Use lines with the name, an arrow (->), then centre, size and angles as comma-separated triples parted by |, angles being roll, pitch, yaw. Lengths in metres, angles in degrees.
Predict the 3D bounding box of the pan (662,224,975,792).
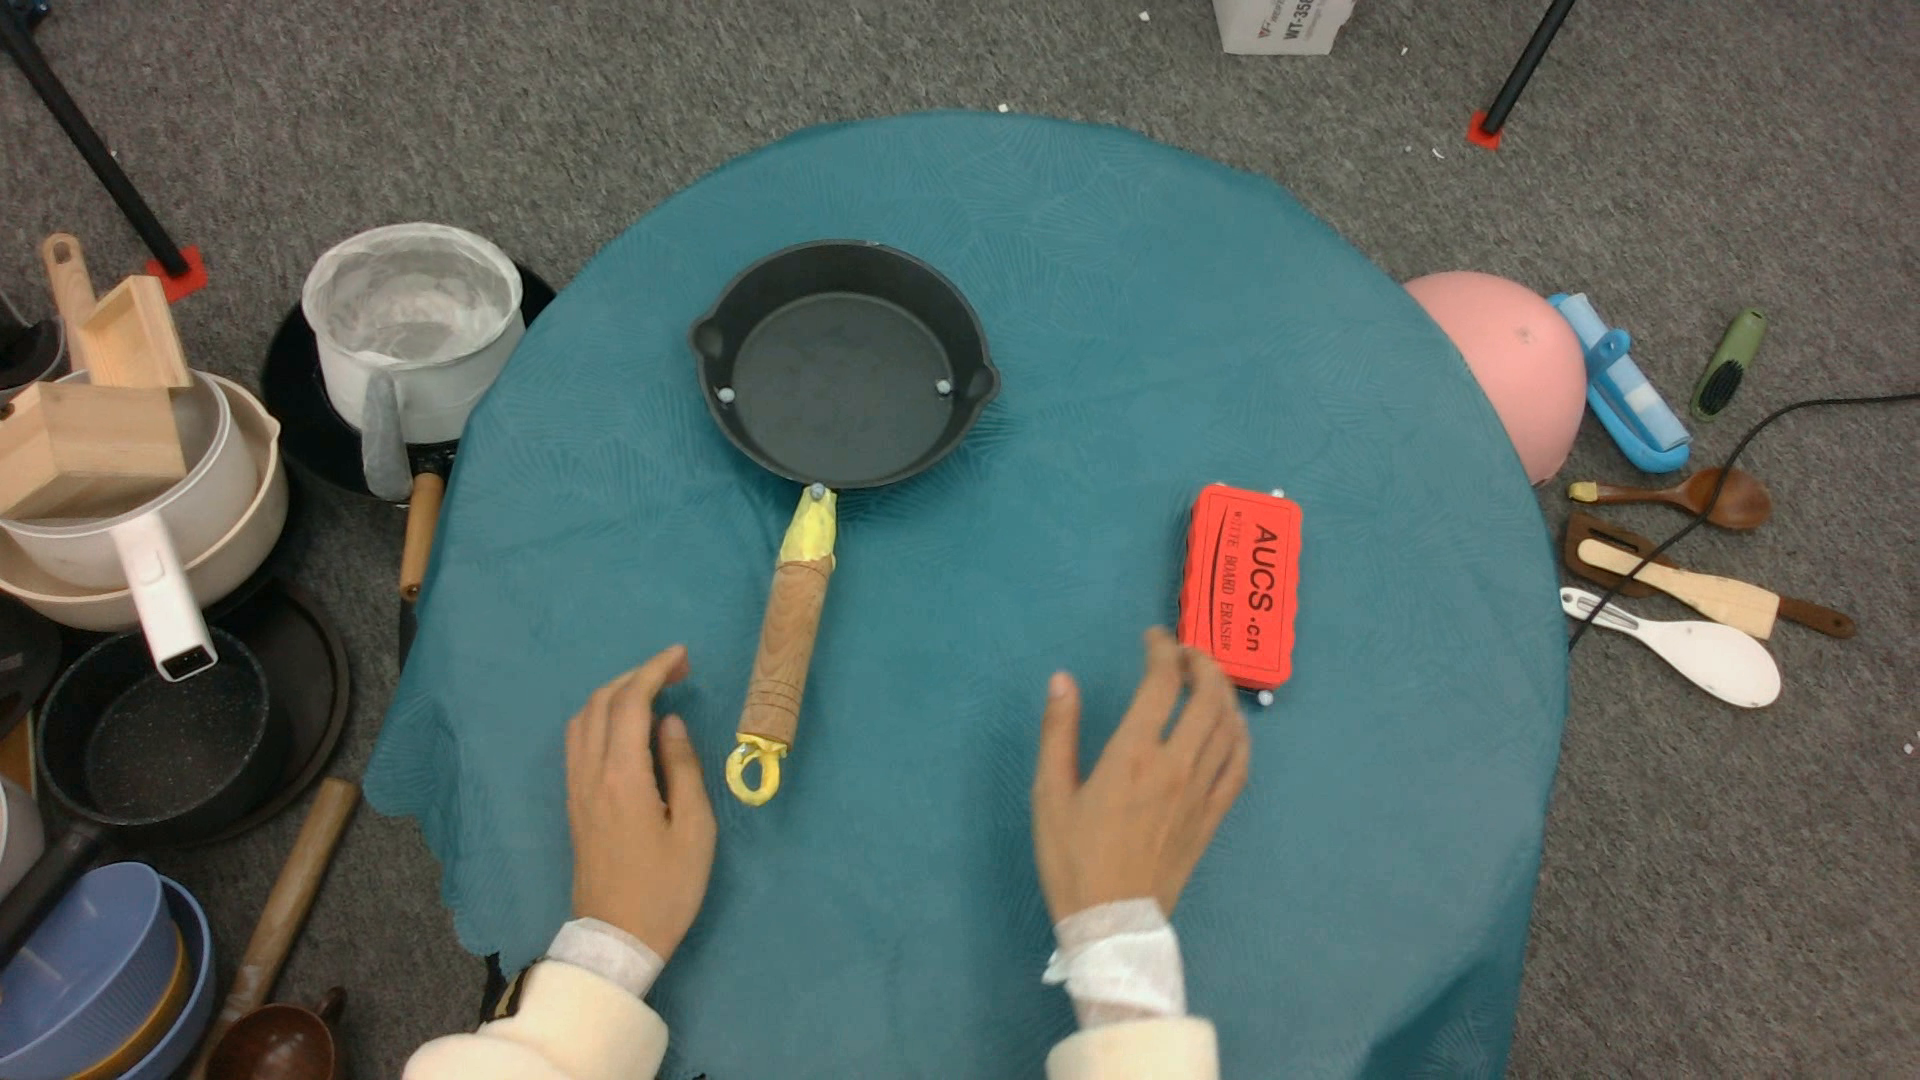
pan -> -0.088, -0.026, 0.706 | 0.169, 0.049, 0.325 | 11, 63, -3

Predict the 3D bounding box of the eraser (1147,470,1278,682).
eraser -> 0.135, 0.018, 0.731 | 0.059, 0.023, 0.108 | 13, 64, -2
